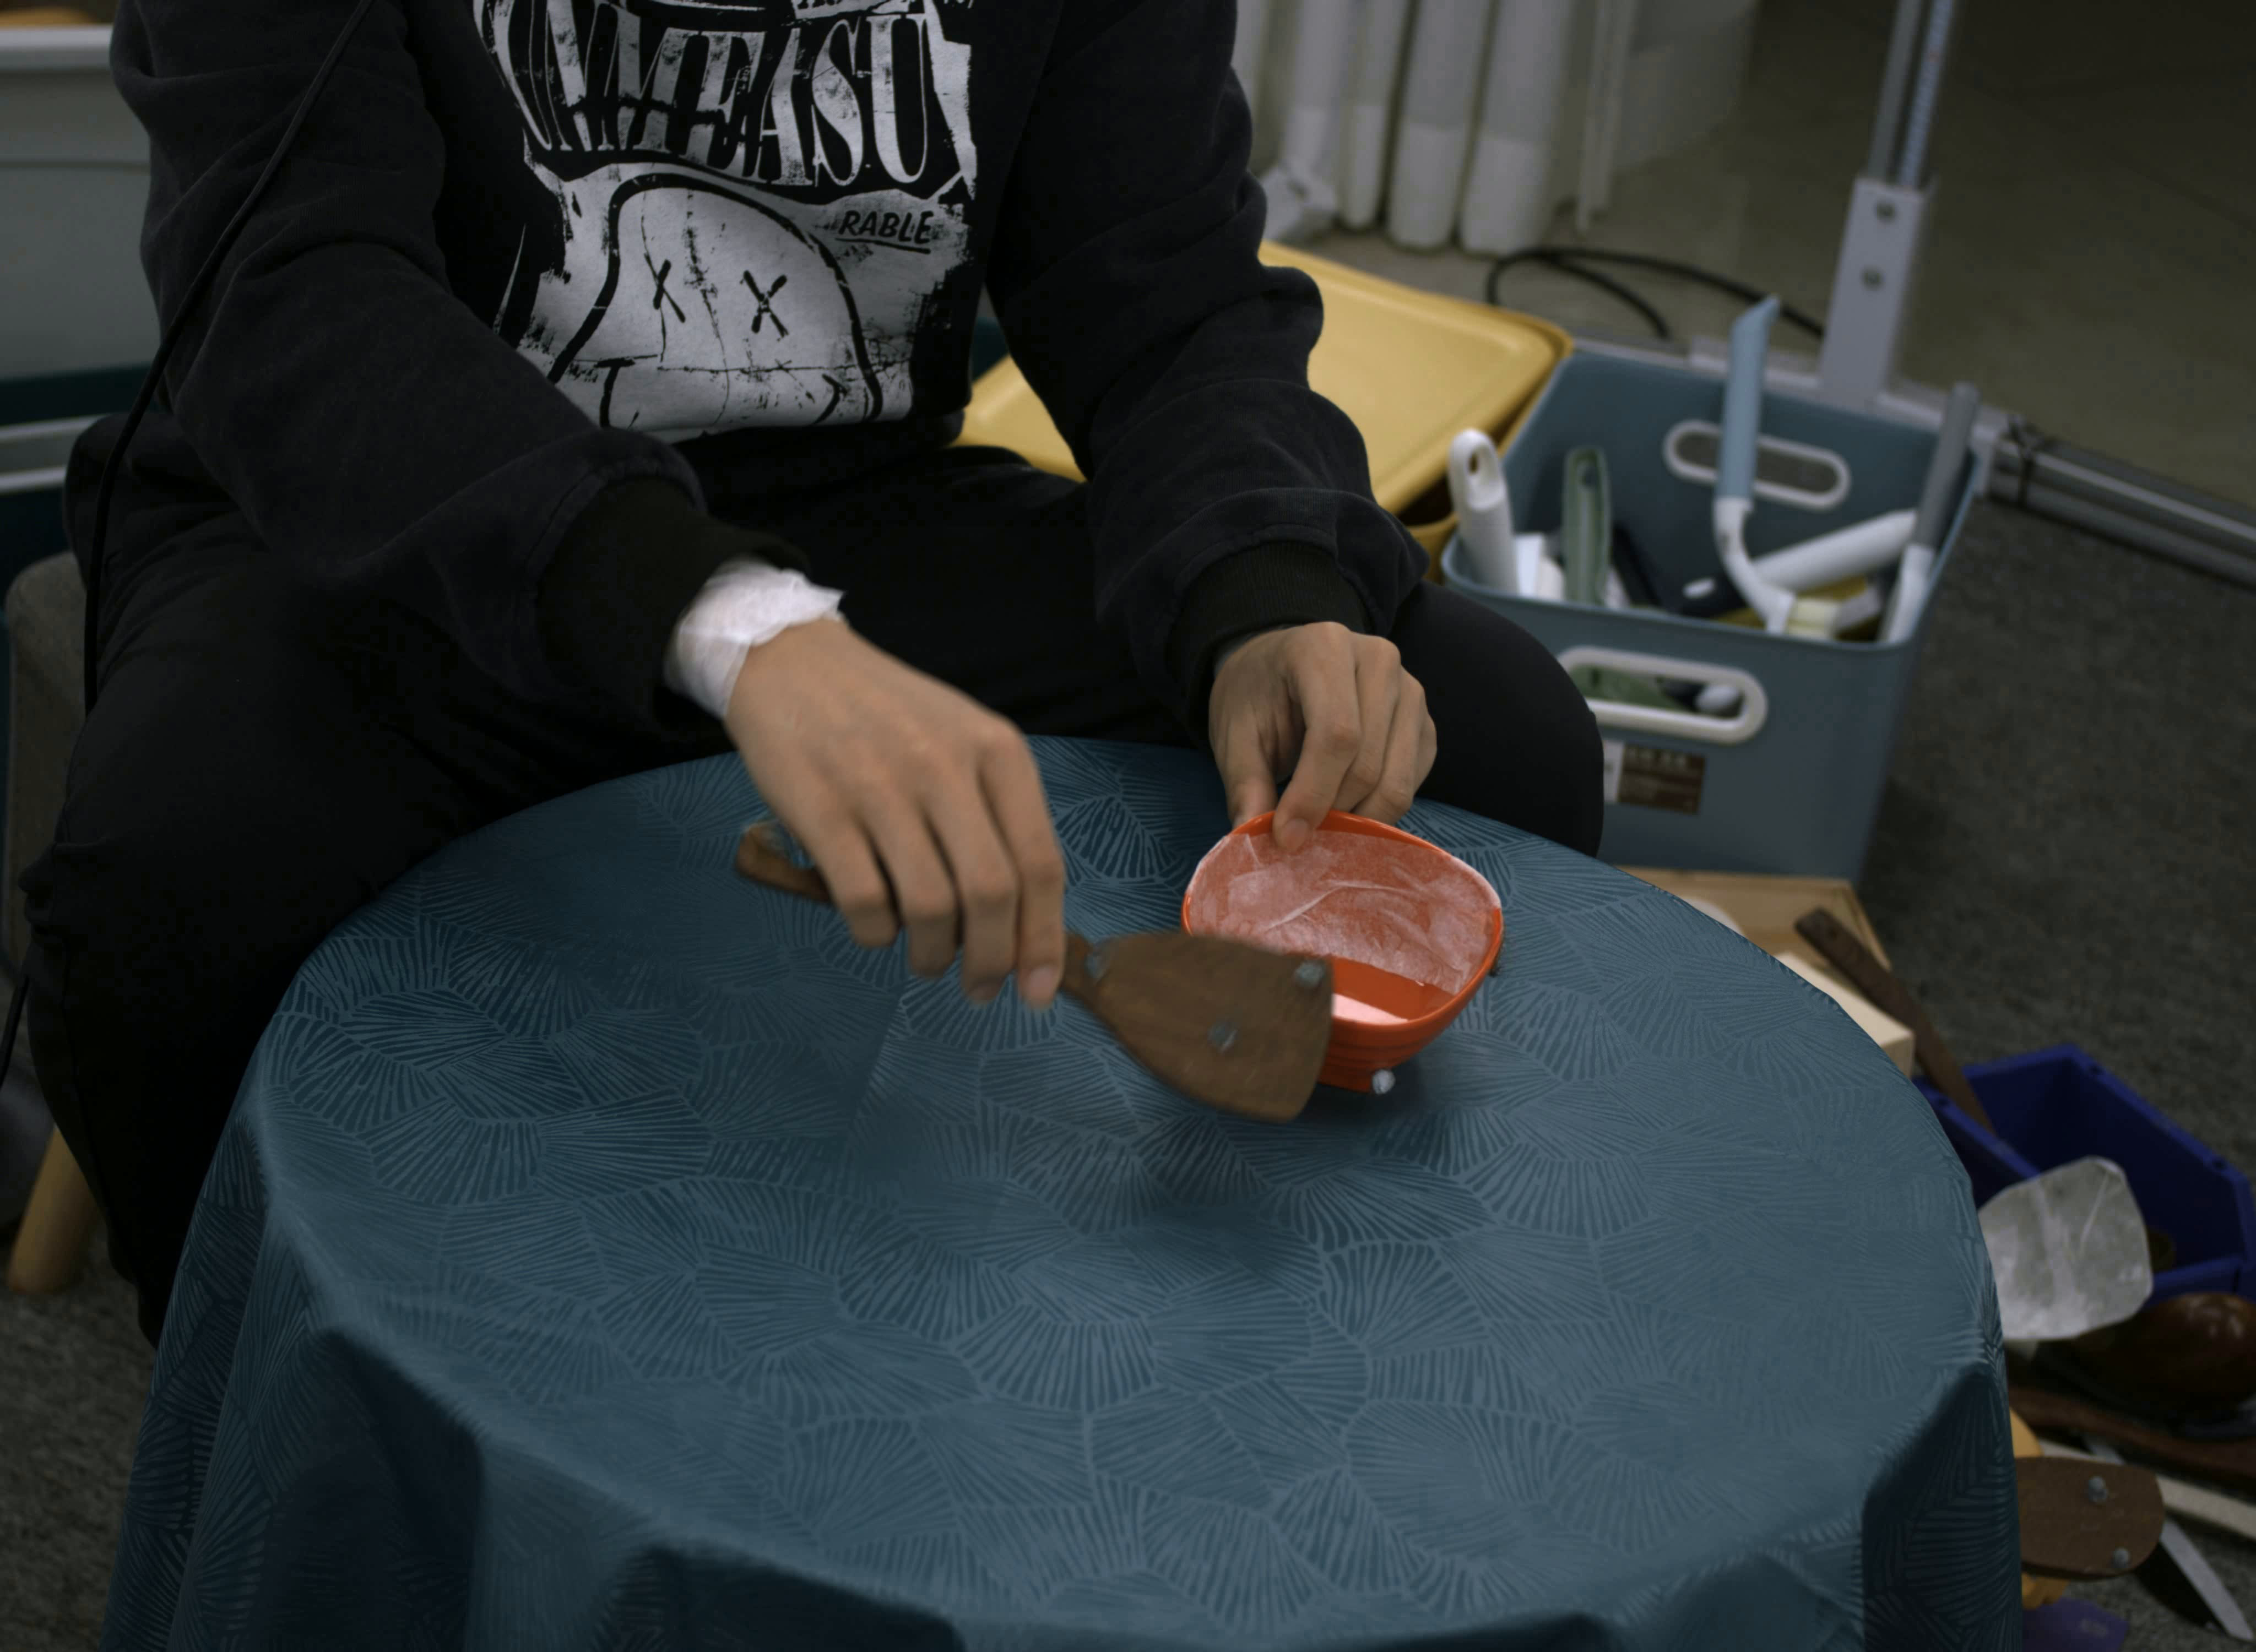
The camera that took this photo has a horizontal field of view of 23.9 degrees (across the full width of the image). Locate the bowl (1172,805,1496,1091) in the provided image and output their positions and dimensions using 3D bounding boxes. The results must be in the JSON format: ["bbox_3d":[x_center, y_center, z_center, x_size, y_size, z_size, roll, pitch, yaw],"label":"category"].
[{"bbox_3d":[0.070,0.050,1.894,0.118,0.051,0.120,5,42,-5],"label":"bowl"}]

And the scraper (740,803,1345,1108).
[{"bbox_3d":[-0.029,0.036,1.787,0.210,0.011,0.076,20,49,-3],"label":"scraper"}]
